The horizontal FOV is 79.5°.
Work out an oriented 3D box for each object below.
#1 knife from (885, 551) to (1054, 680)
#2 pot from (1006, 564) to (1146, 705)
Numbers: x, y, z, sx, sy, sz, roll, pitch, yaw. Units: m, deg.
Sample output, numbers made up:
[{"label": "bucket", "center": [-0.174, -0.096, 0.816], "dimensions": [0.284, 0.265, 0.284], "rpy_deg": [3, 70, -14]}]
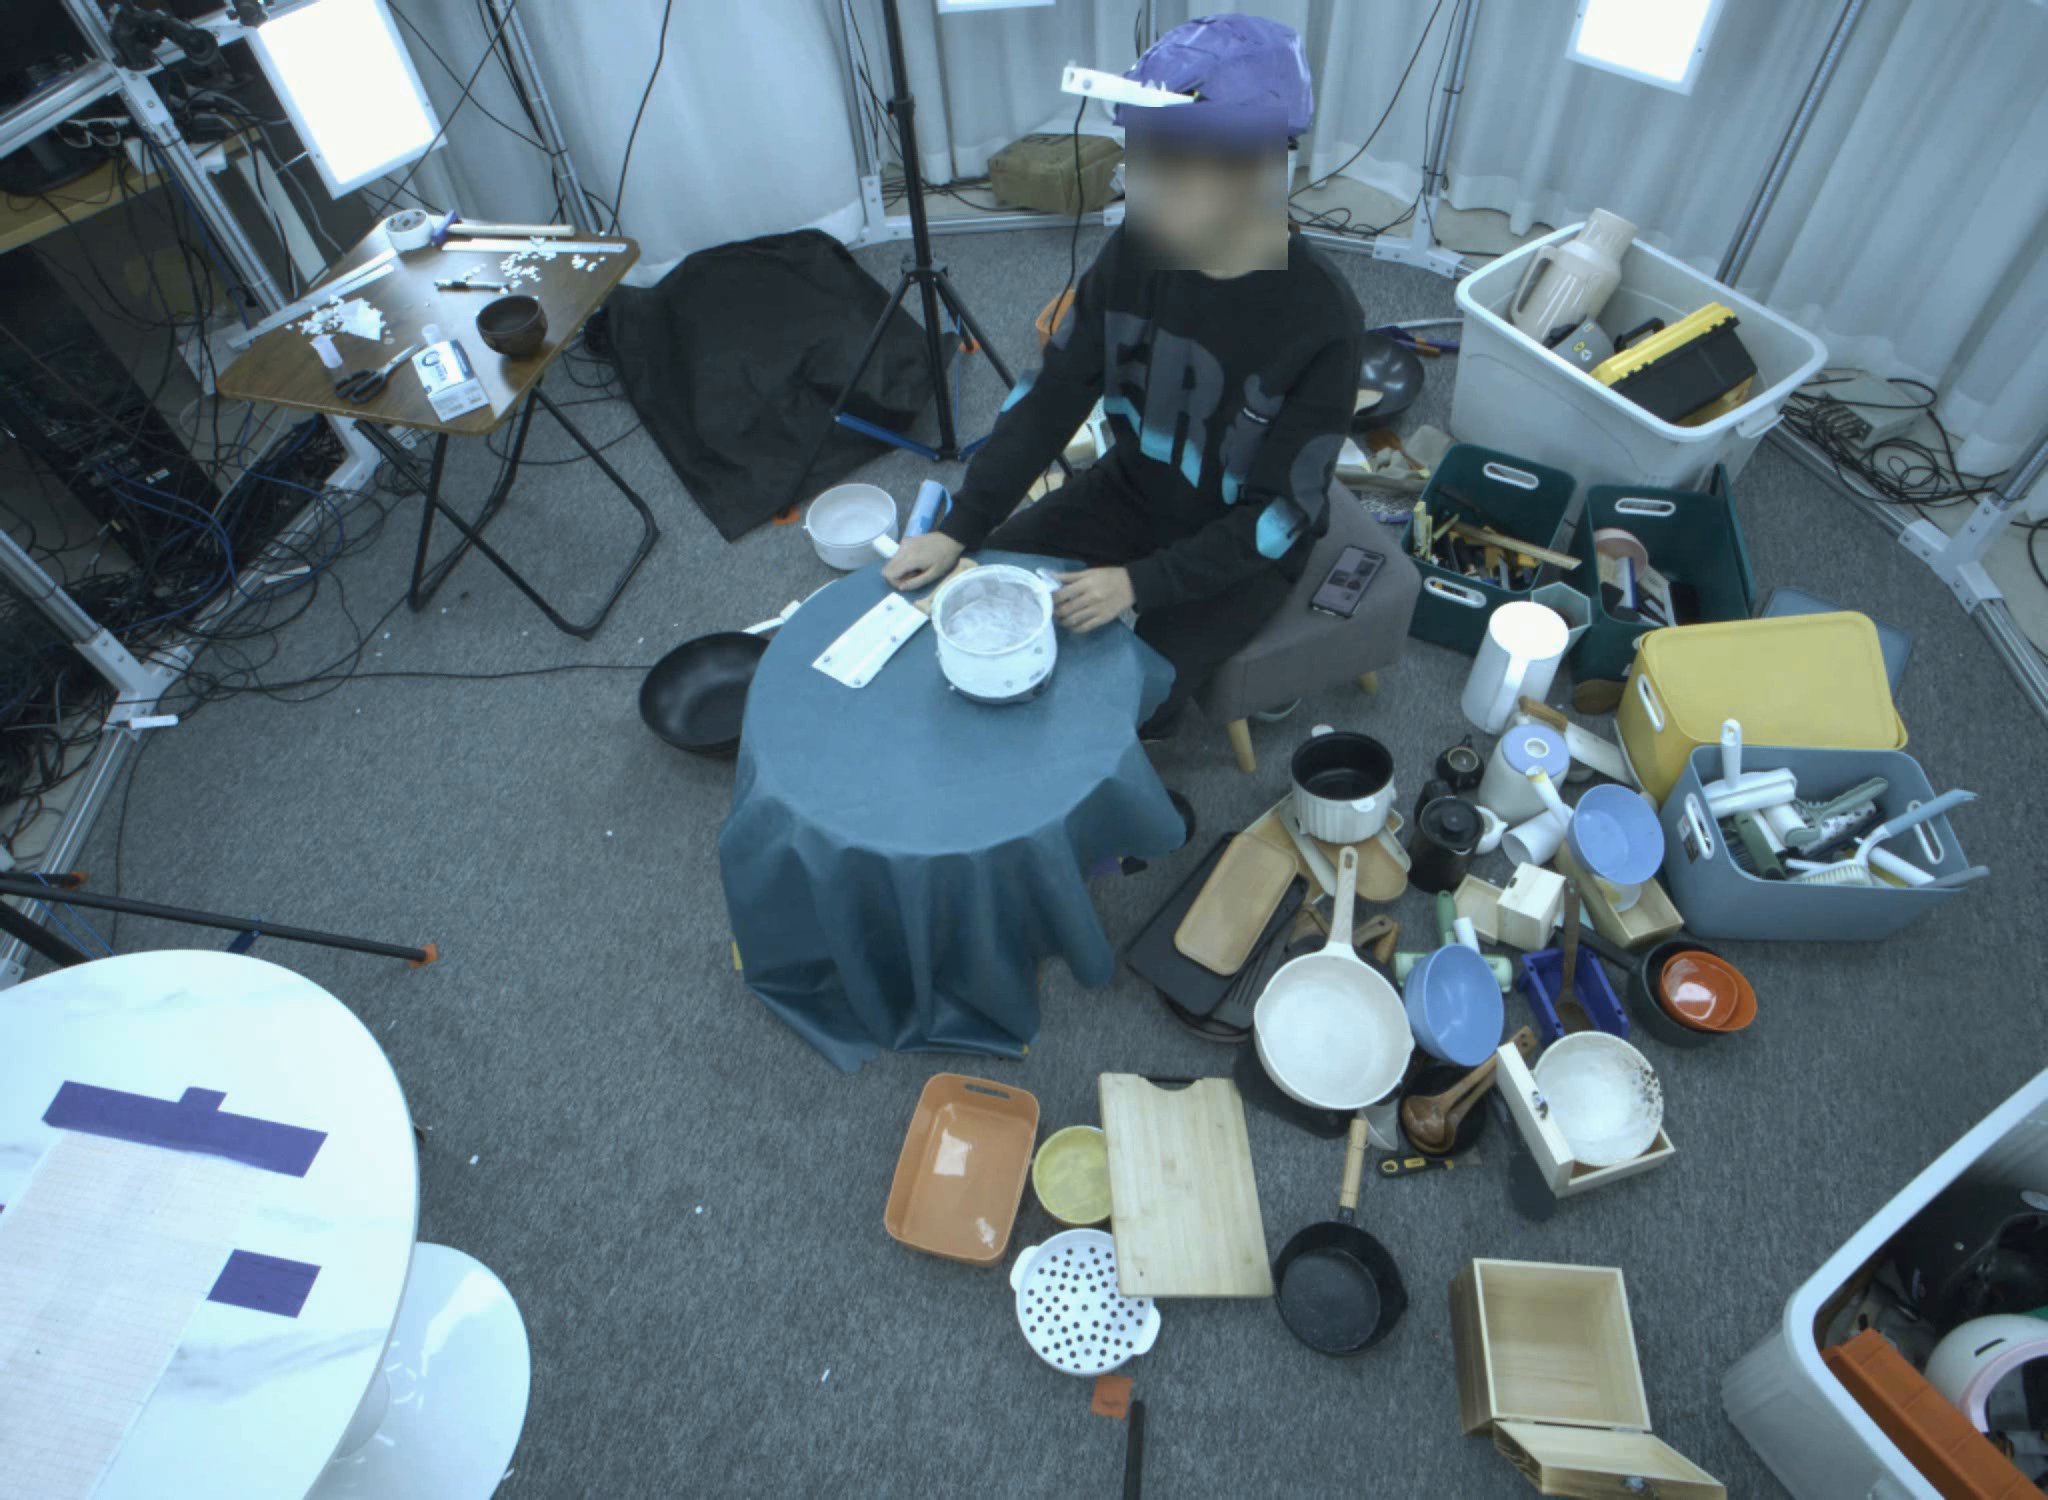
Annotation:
[{"label": "knife", "center": [-0.075, -0.217, 1.932], "dimensions": [0.317, 0.022, 0.112], "rpy_deg": [-39, 62, -20]}, {"label": "pot", "center": [0.087, -0.182, 1.828], "dimensions": [0.235, 0.138, 0.175], "rpy_deg": [-37, 61, -21]}]
